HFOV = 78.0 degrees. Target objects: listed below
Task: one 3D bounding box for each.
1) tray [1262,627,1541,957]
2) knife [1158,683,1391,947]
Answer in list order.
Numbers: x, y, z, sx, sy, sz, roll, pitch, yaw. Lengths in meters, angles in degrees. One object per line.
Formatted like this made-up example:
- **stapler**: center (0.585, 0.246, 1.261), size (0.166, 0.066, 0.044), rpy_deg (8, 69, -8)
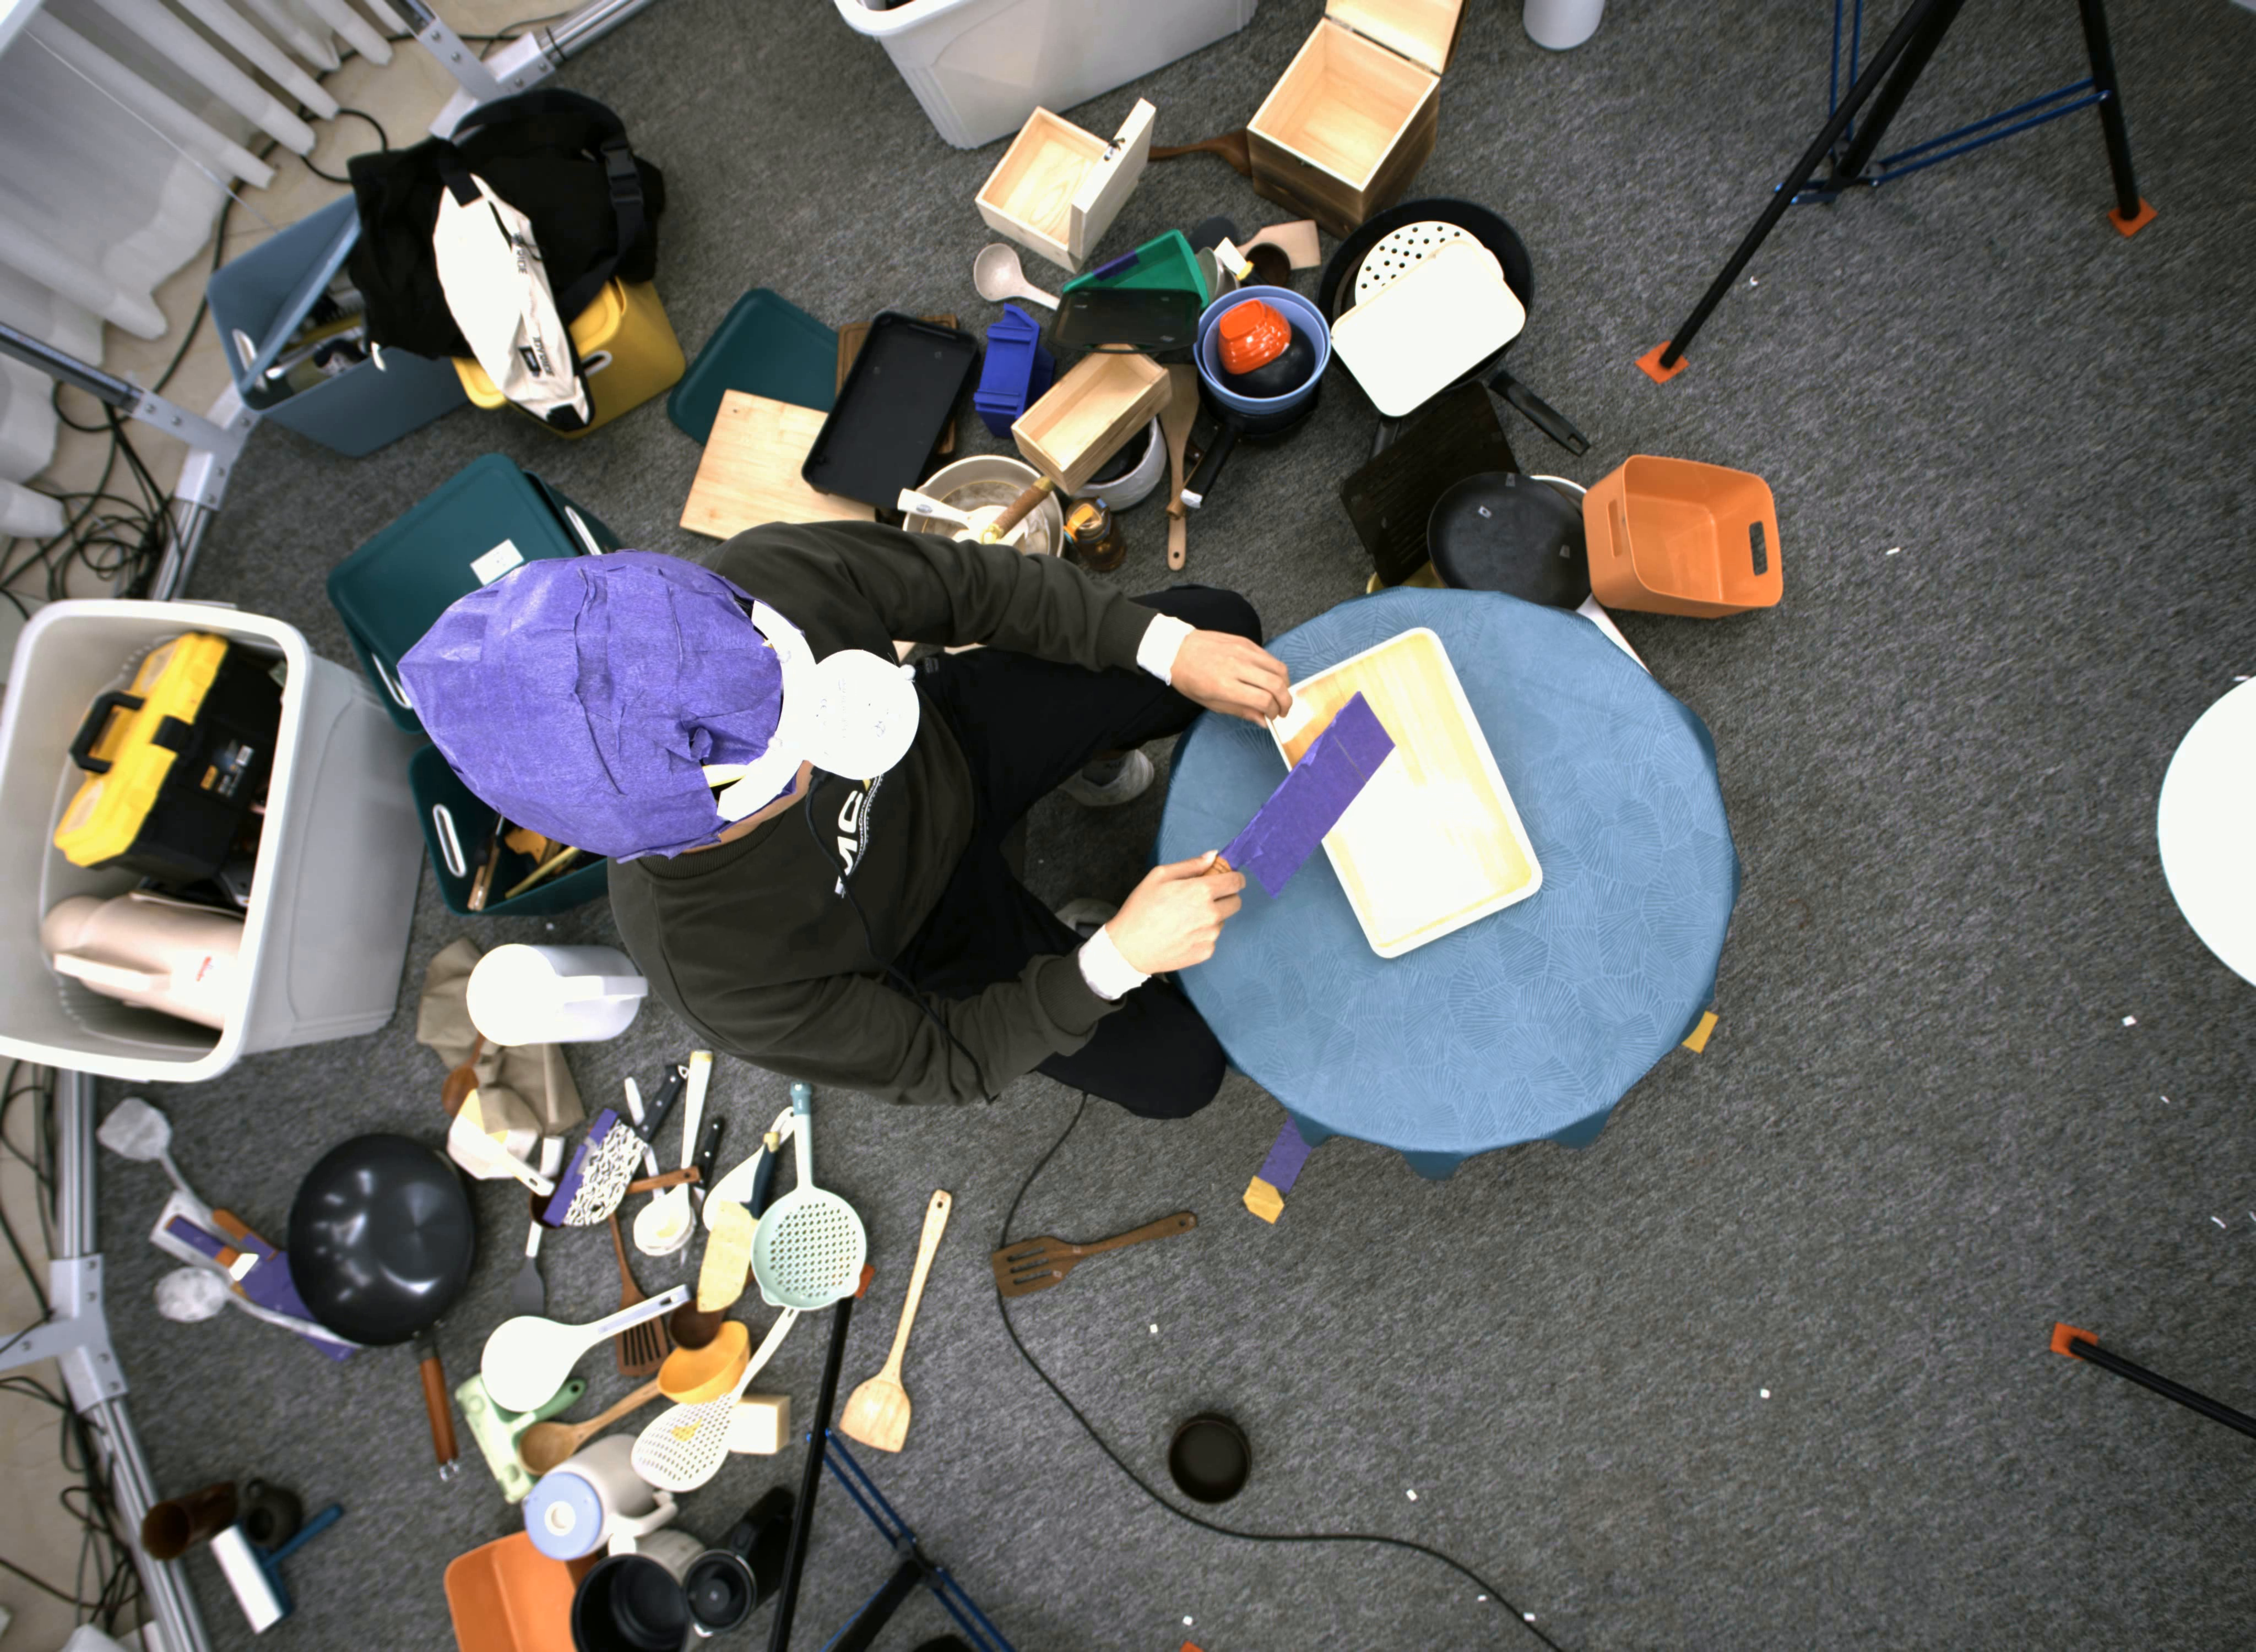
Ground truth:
- **tray**: center (0.280, -0.034, 1.404), size (0.193, 0.027, 0.302), rpy_deg (-25, 101, 9)
- **knife**: center (0.153, 0.006, 1.342), size (0.313, 0.105, 0.032), rpy_deg (-49, 39, -8)
